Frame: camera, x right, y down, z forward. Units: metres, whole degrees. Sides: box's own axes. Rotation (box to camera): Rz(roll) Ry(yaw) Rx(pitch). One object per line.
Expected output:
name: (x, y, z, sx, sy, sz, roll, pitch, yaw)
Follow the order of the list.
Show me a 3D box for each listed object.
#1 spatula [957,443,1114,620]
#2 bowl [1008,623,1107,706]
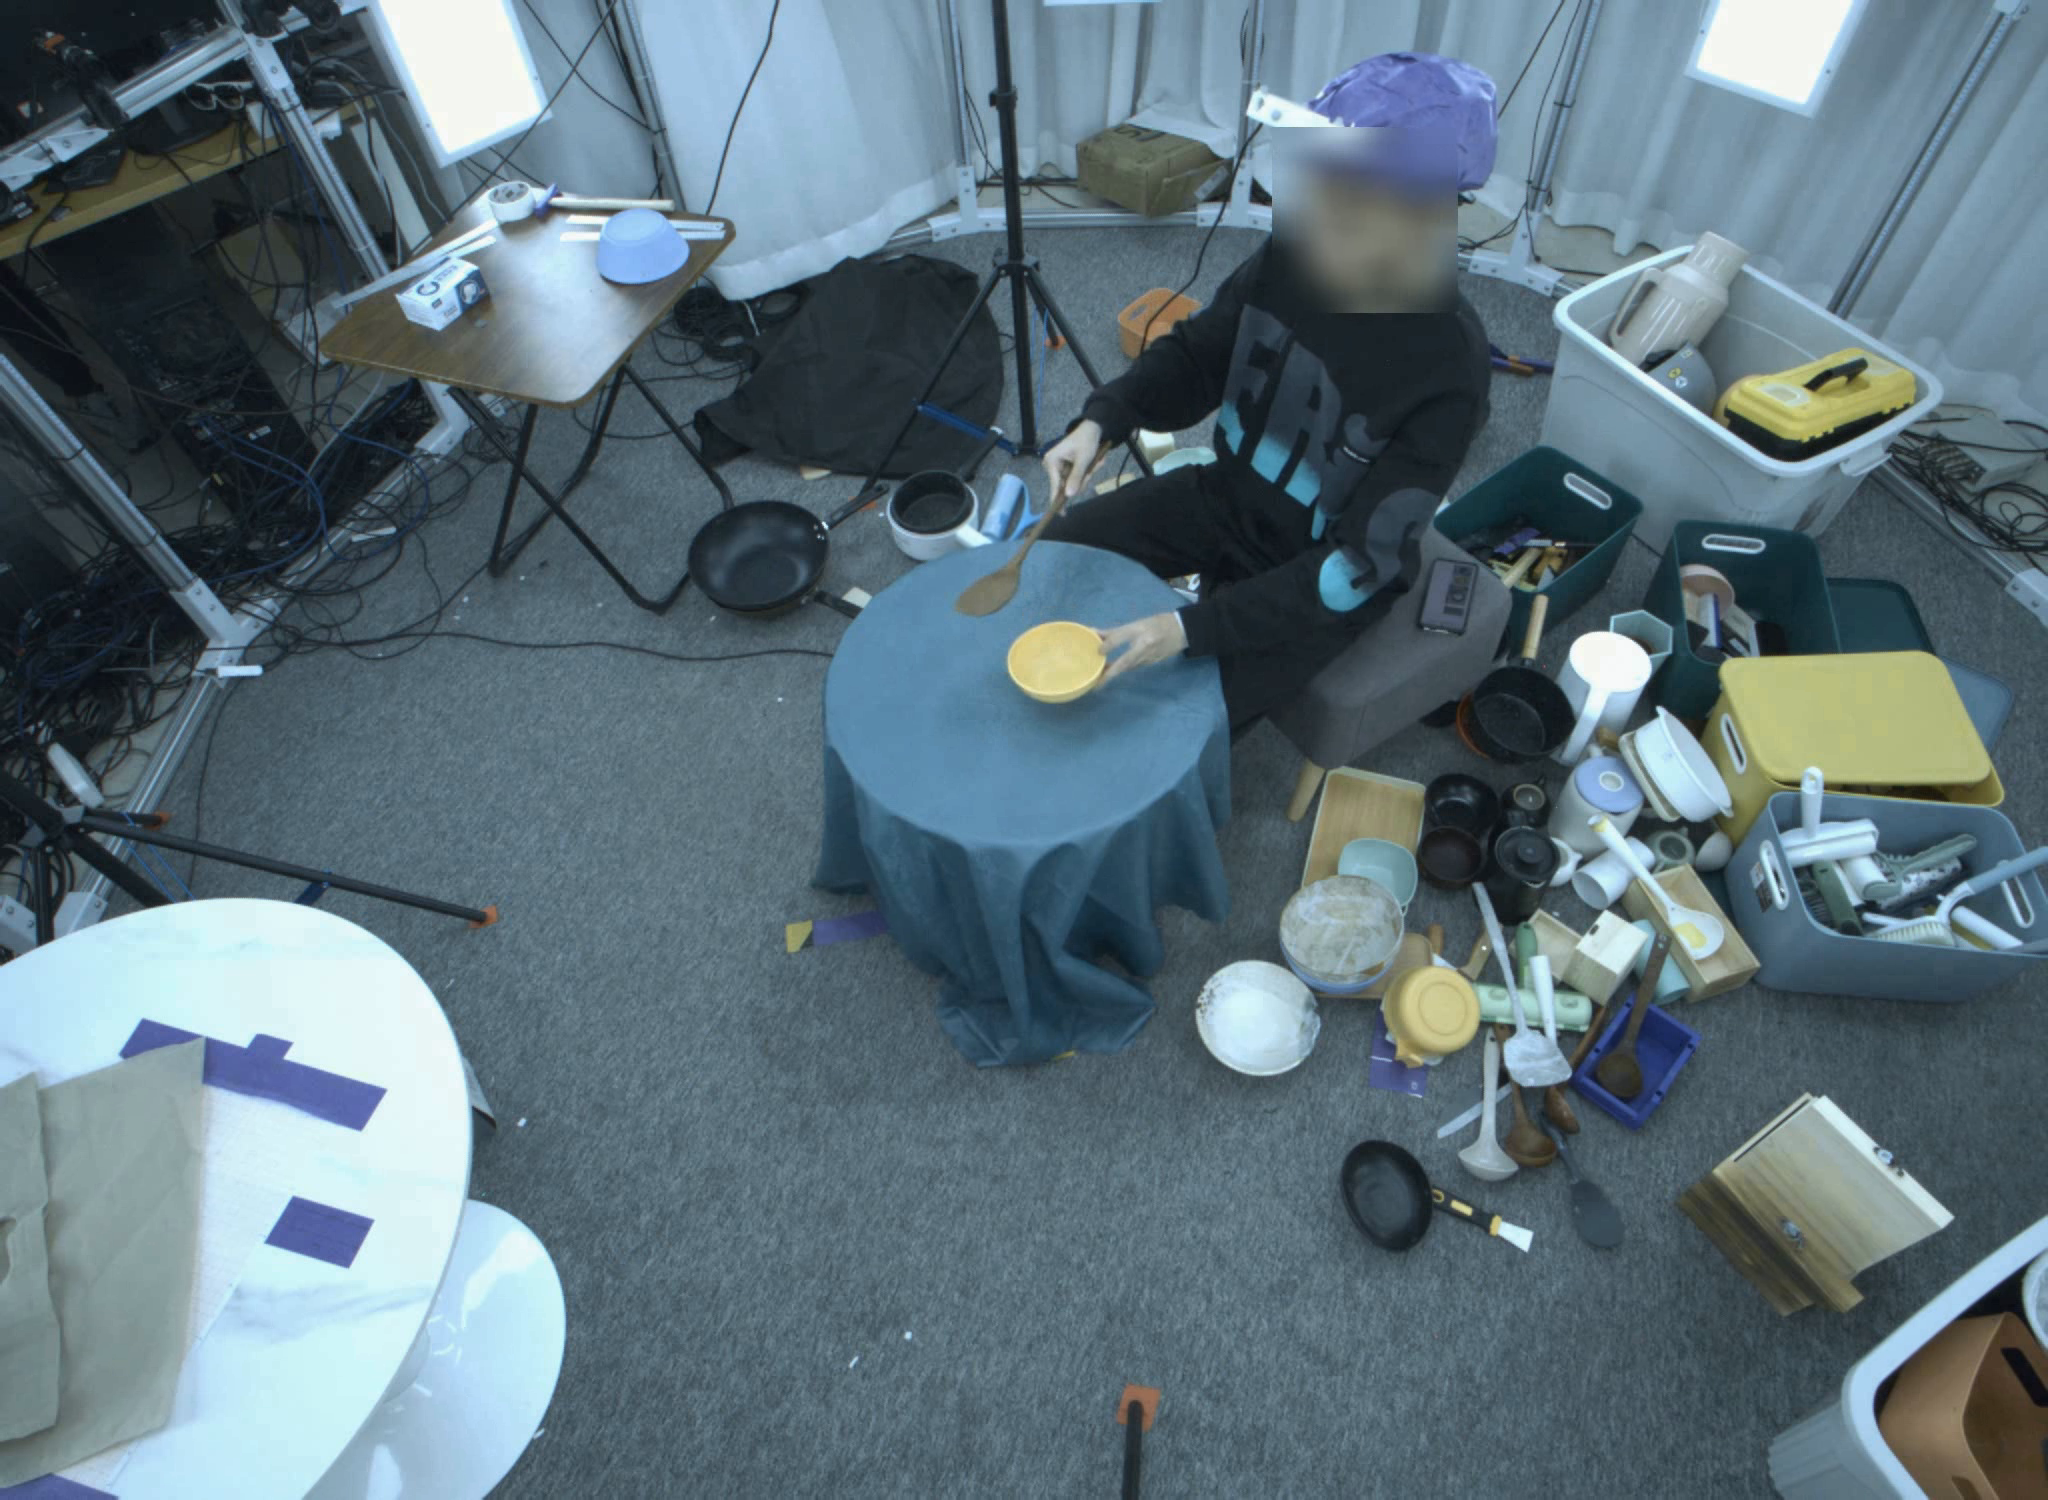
spatula: (0.030, -0.333, 1.819, 0.094, 0.016, 0.387, 13, 60, 42)
bowl: (0.050, -0.114, 1.810, 0.145, 0.061, 0.144, -2, 54, 3)
